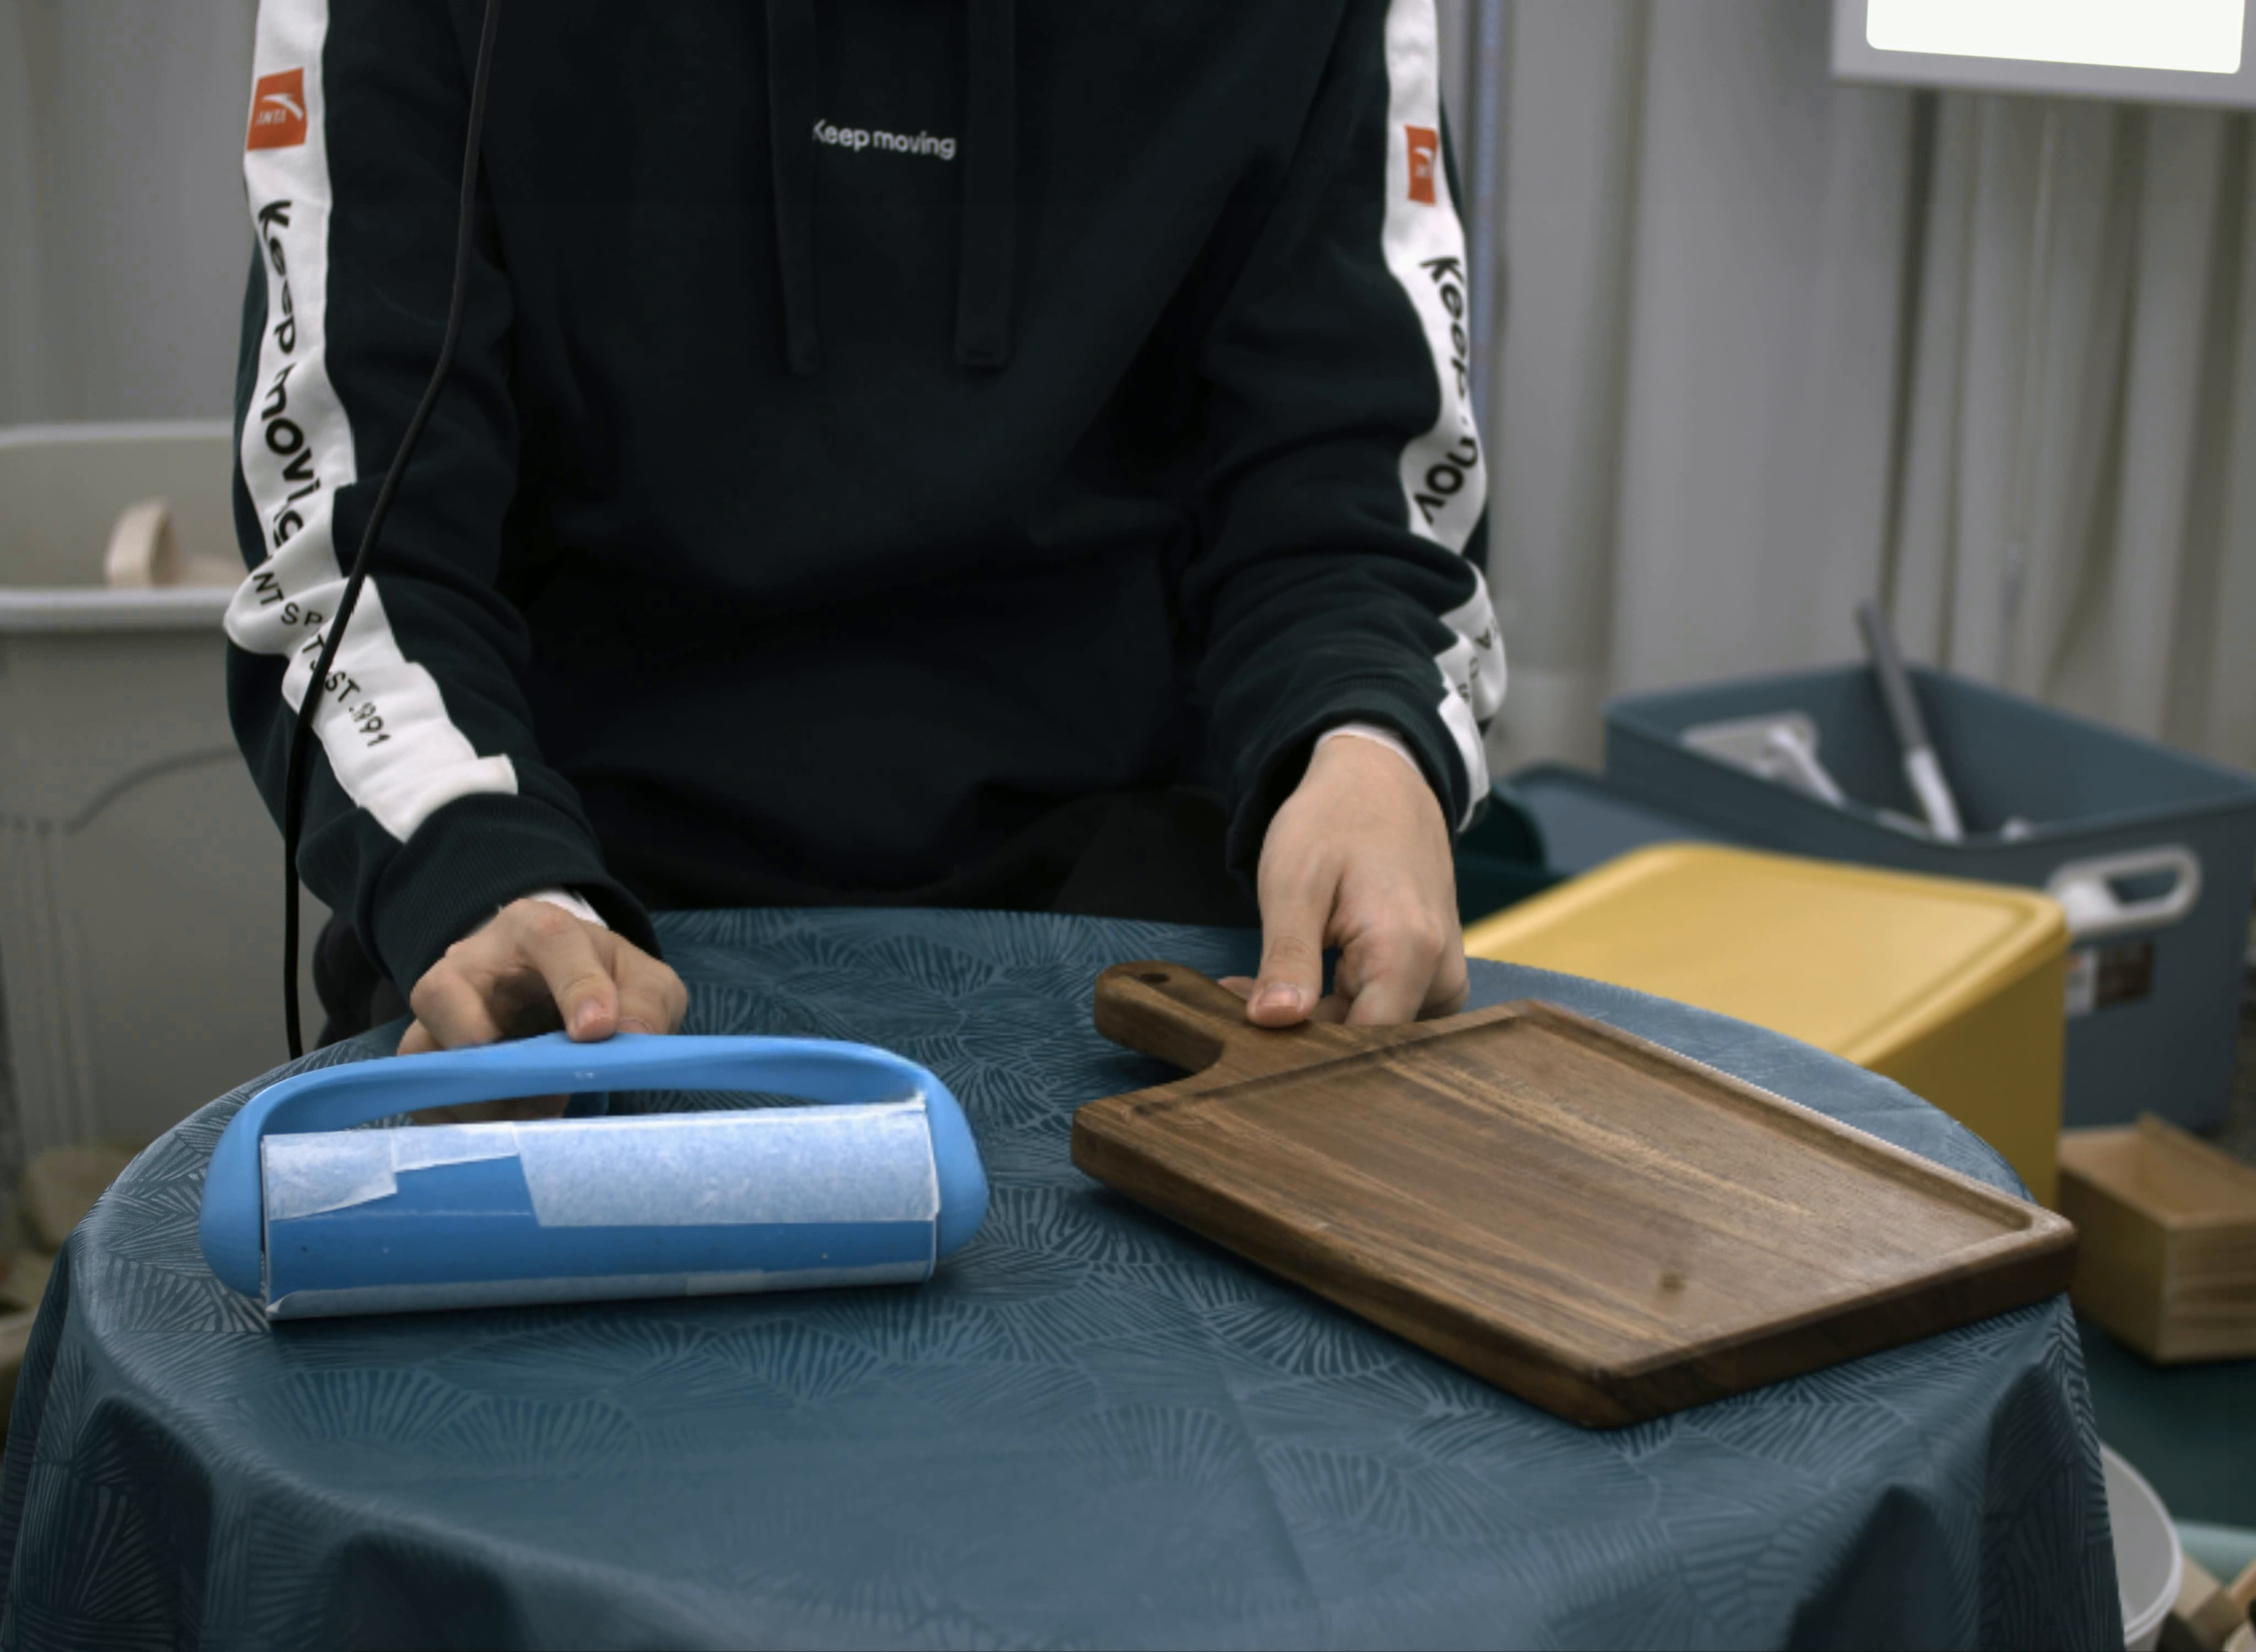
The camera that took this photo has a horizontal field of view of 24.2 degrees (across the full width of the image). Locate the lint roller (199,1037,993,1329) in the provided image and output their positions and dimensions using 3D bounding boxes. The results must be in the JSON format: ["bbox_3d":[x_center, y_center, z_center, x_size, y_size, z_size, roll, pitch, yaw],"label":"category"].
[{"bbox_3d":[-0.165,0.094,1.574,0.229,0.068,0.178,-5,18,-12],"label":"lint roller"}]

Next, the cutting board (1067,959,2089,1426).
[{"bbox_3d":[0.102,0.097,1.612,0.202,0.023,0.347,-11,21,-37],"label":"cutting board"}]
